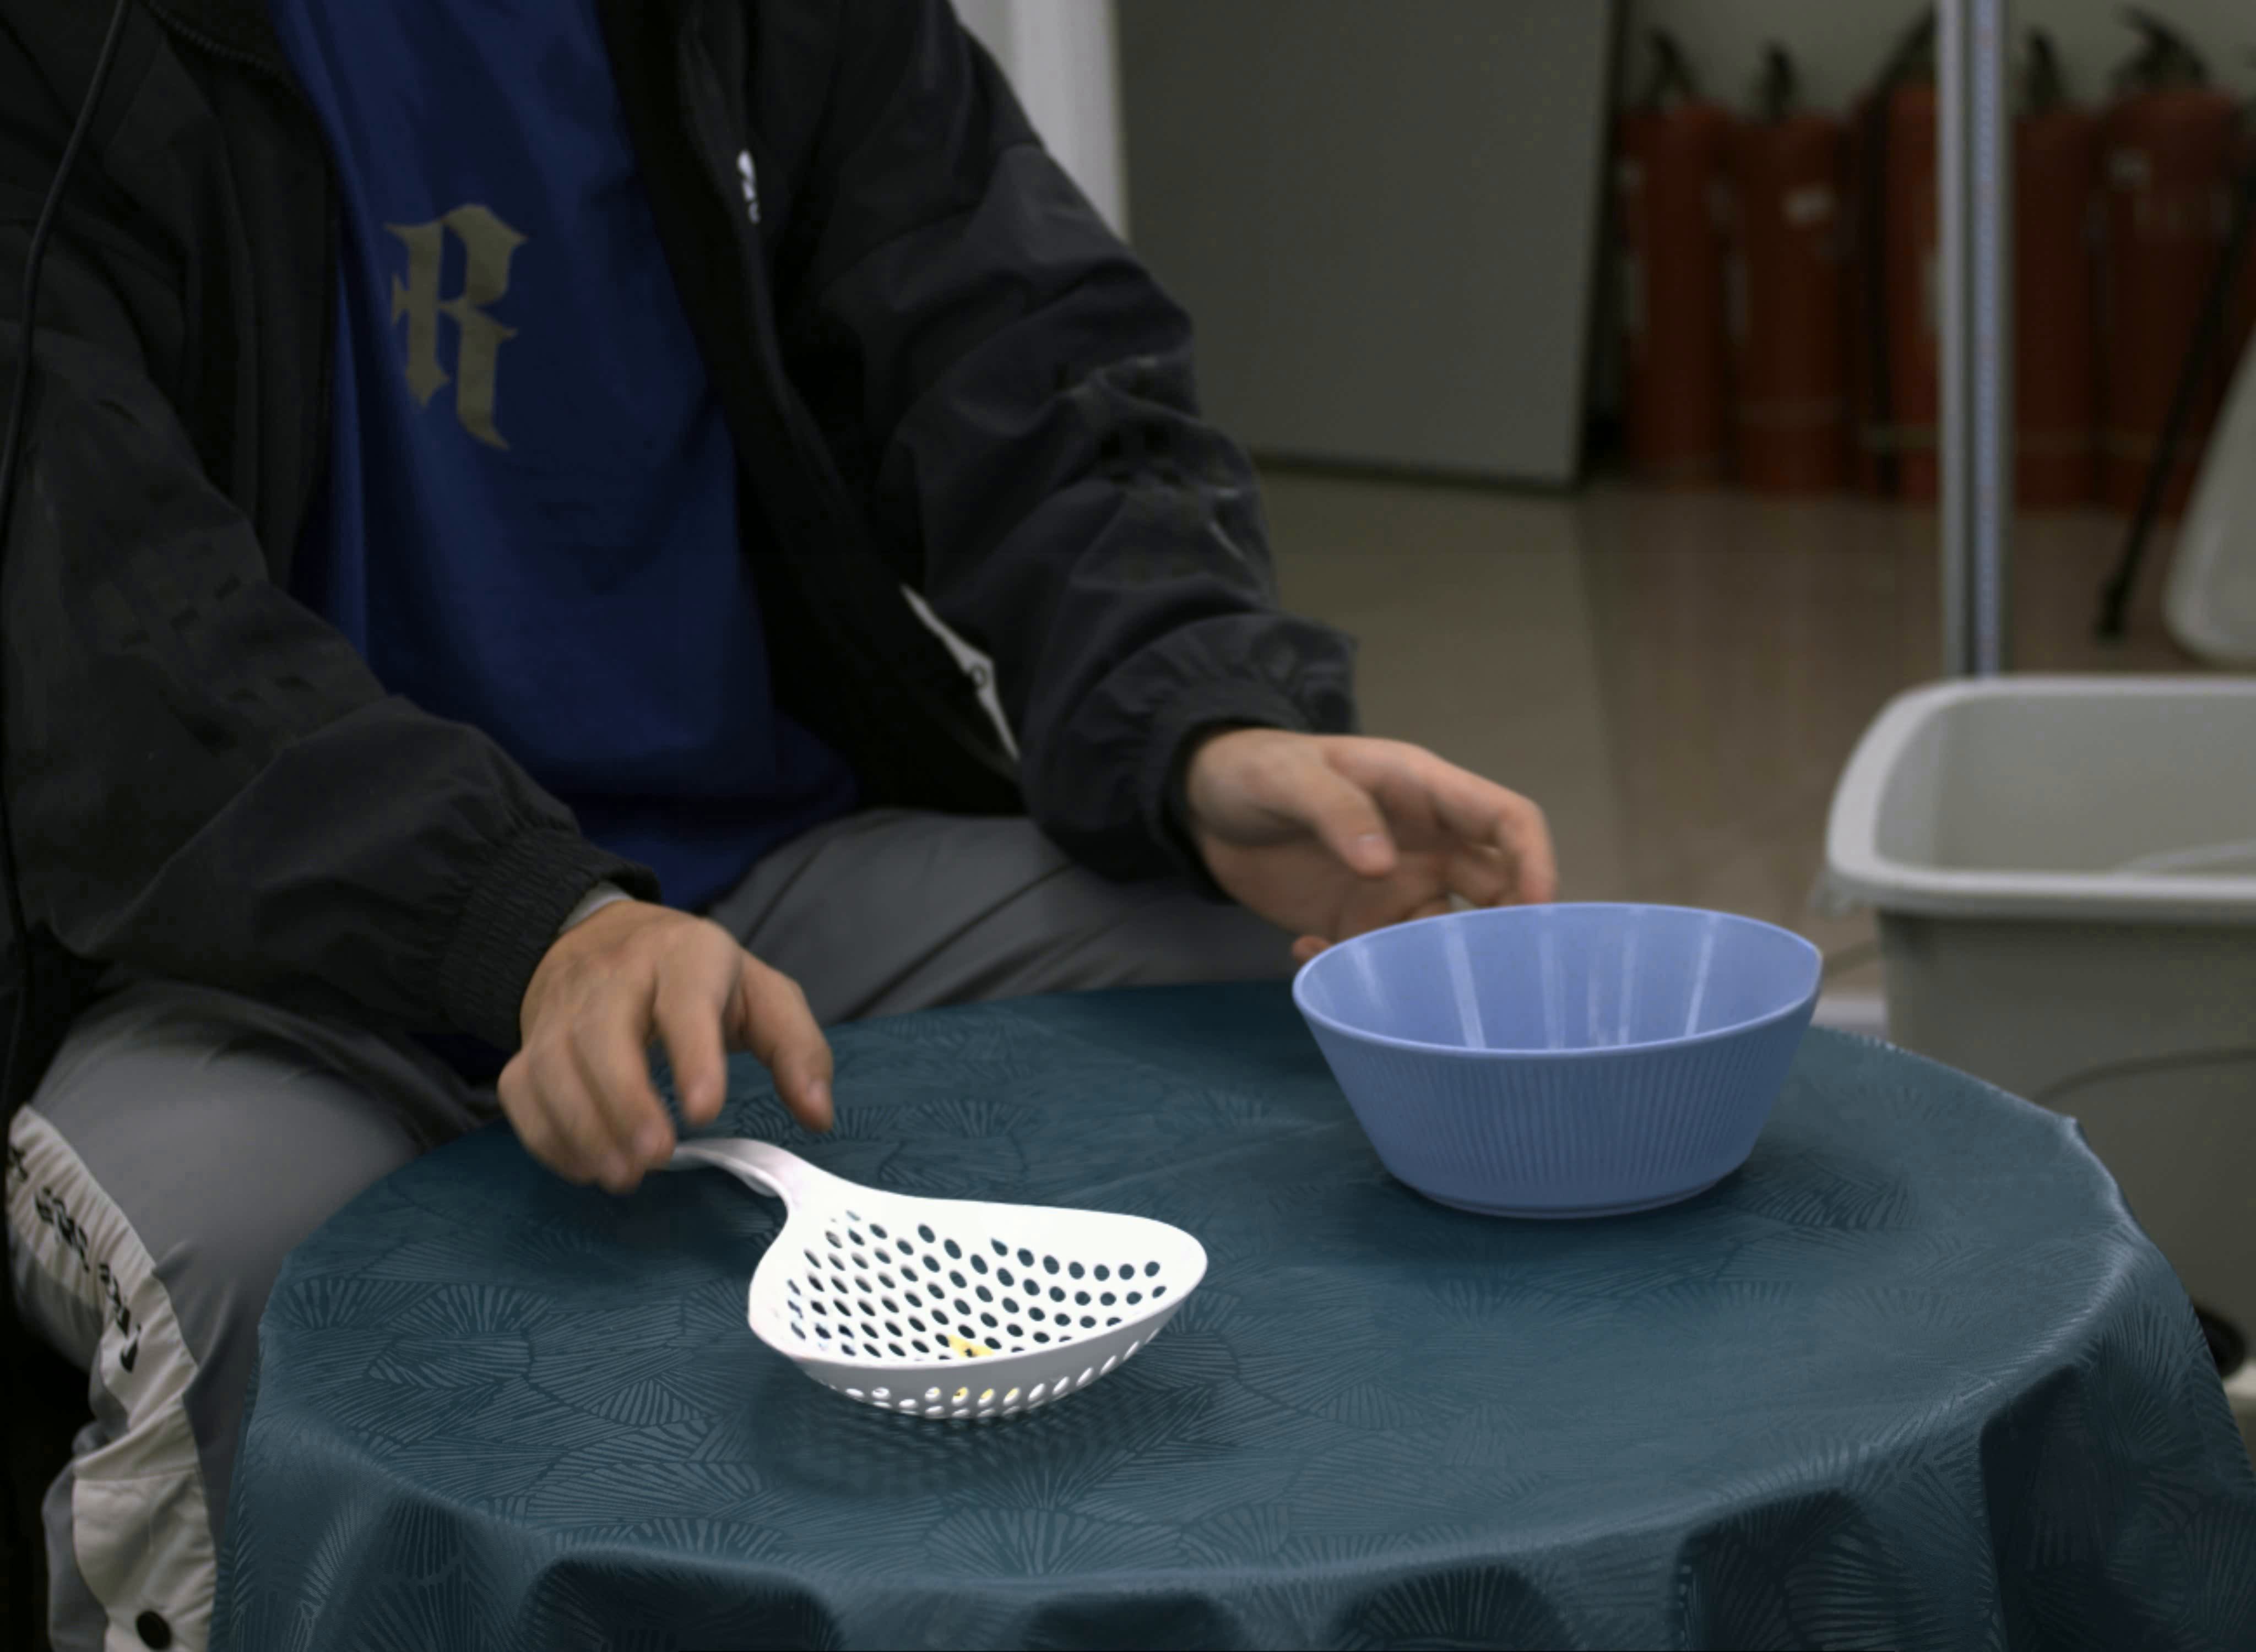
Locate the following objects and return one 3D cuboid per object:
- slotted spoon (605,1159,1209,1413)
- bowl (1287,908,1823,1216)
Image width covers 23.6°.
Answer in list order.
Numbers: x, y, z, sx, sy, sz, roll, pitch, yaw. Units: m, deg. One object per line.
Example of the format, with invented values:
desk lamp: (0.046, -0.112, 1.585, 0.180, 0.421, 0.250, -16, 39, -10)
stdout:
slotted spoon: (-0.090, 0.129, 1.677, 0.134, 0.051, 0.351, -18, 17, -23)
bowl: (0.140, 0.079, 1.756, 0.174, 0.071, 0.176, -4, 13, 0)
